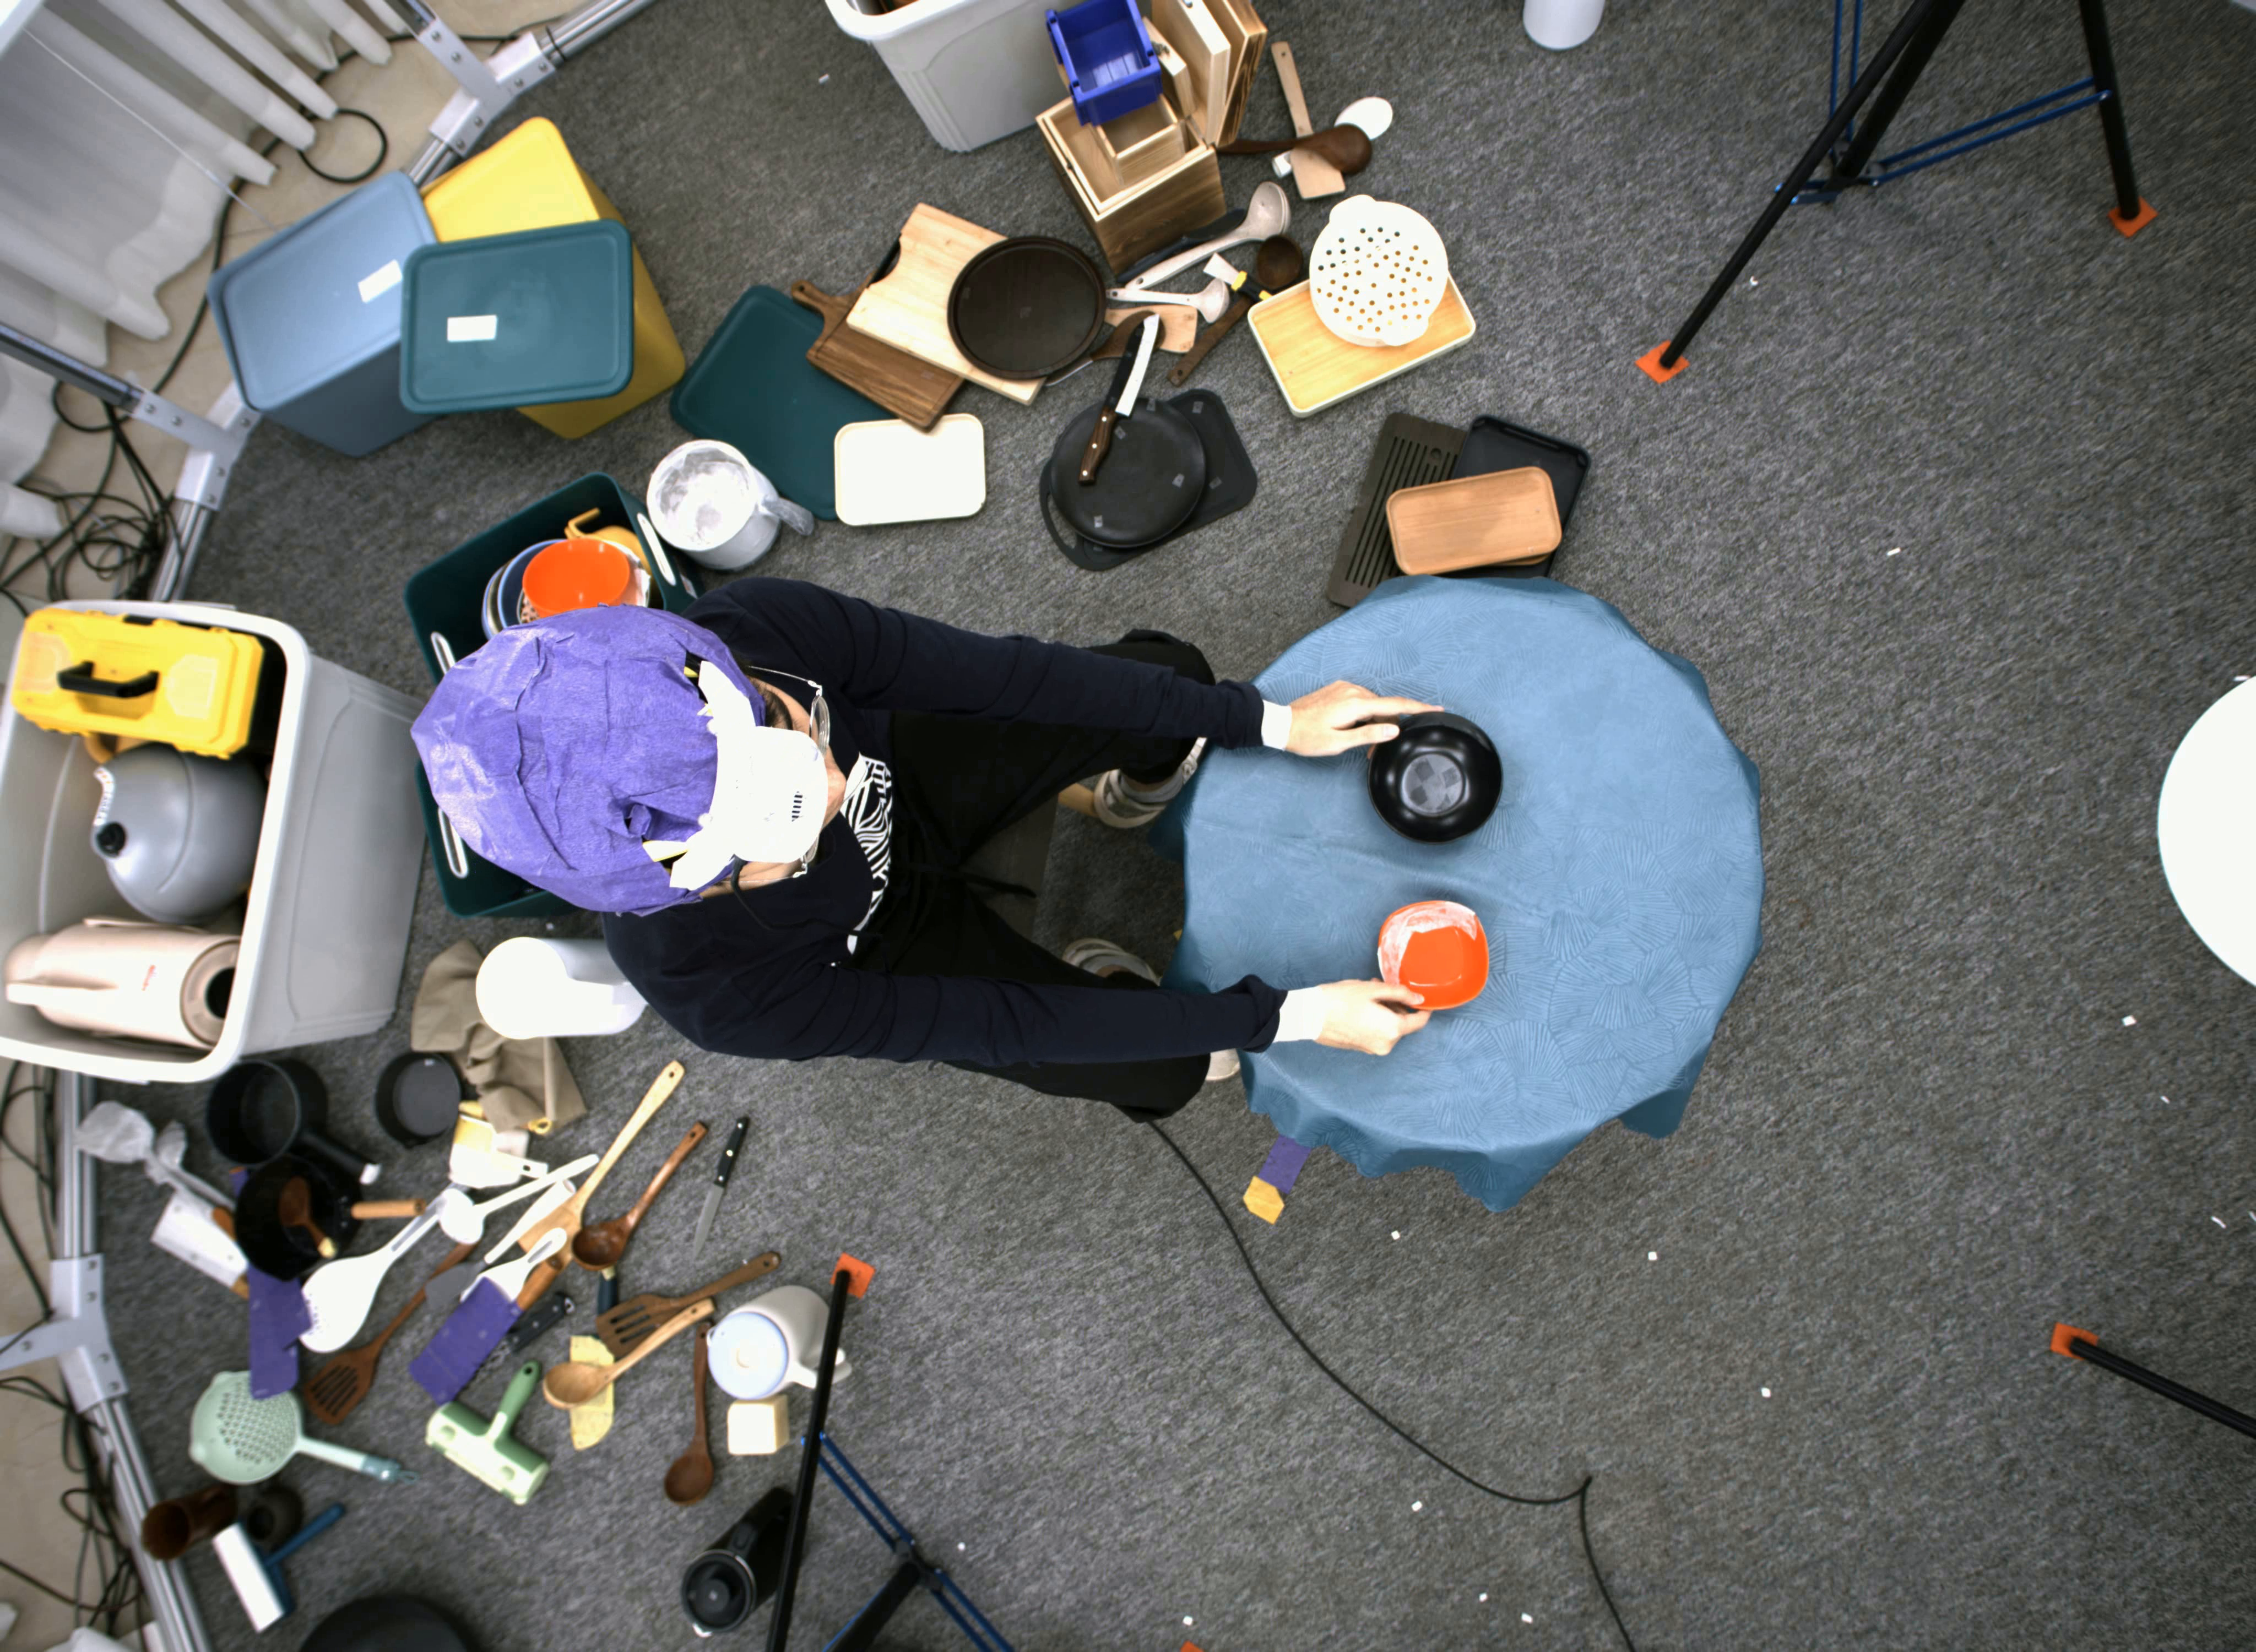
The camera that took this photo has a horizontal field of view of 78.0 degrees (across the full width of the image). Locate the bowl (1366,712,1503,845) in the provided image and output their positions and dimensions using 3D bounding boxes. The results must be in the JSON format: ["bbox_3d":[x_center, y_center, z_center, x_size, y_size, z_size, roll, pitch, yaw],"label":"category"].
[{"bbox_3d":[0.319,-0.049,1.435,0.141,0.050,0.139,-1,87,14],"label":"bowl"}]

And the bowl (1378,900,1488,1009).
[{"bbox_3d":[0.312,0.131,1.422,0.119,0.051,0.118,-1,87,9],"label":"bowl"}]
